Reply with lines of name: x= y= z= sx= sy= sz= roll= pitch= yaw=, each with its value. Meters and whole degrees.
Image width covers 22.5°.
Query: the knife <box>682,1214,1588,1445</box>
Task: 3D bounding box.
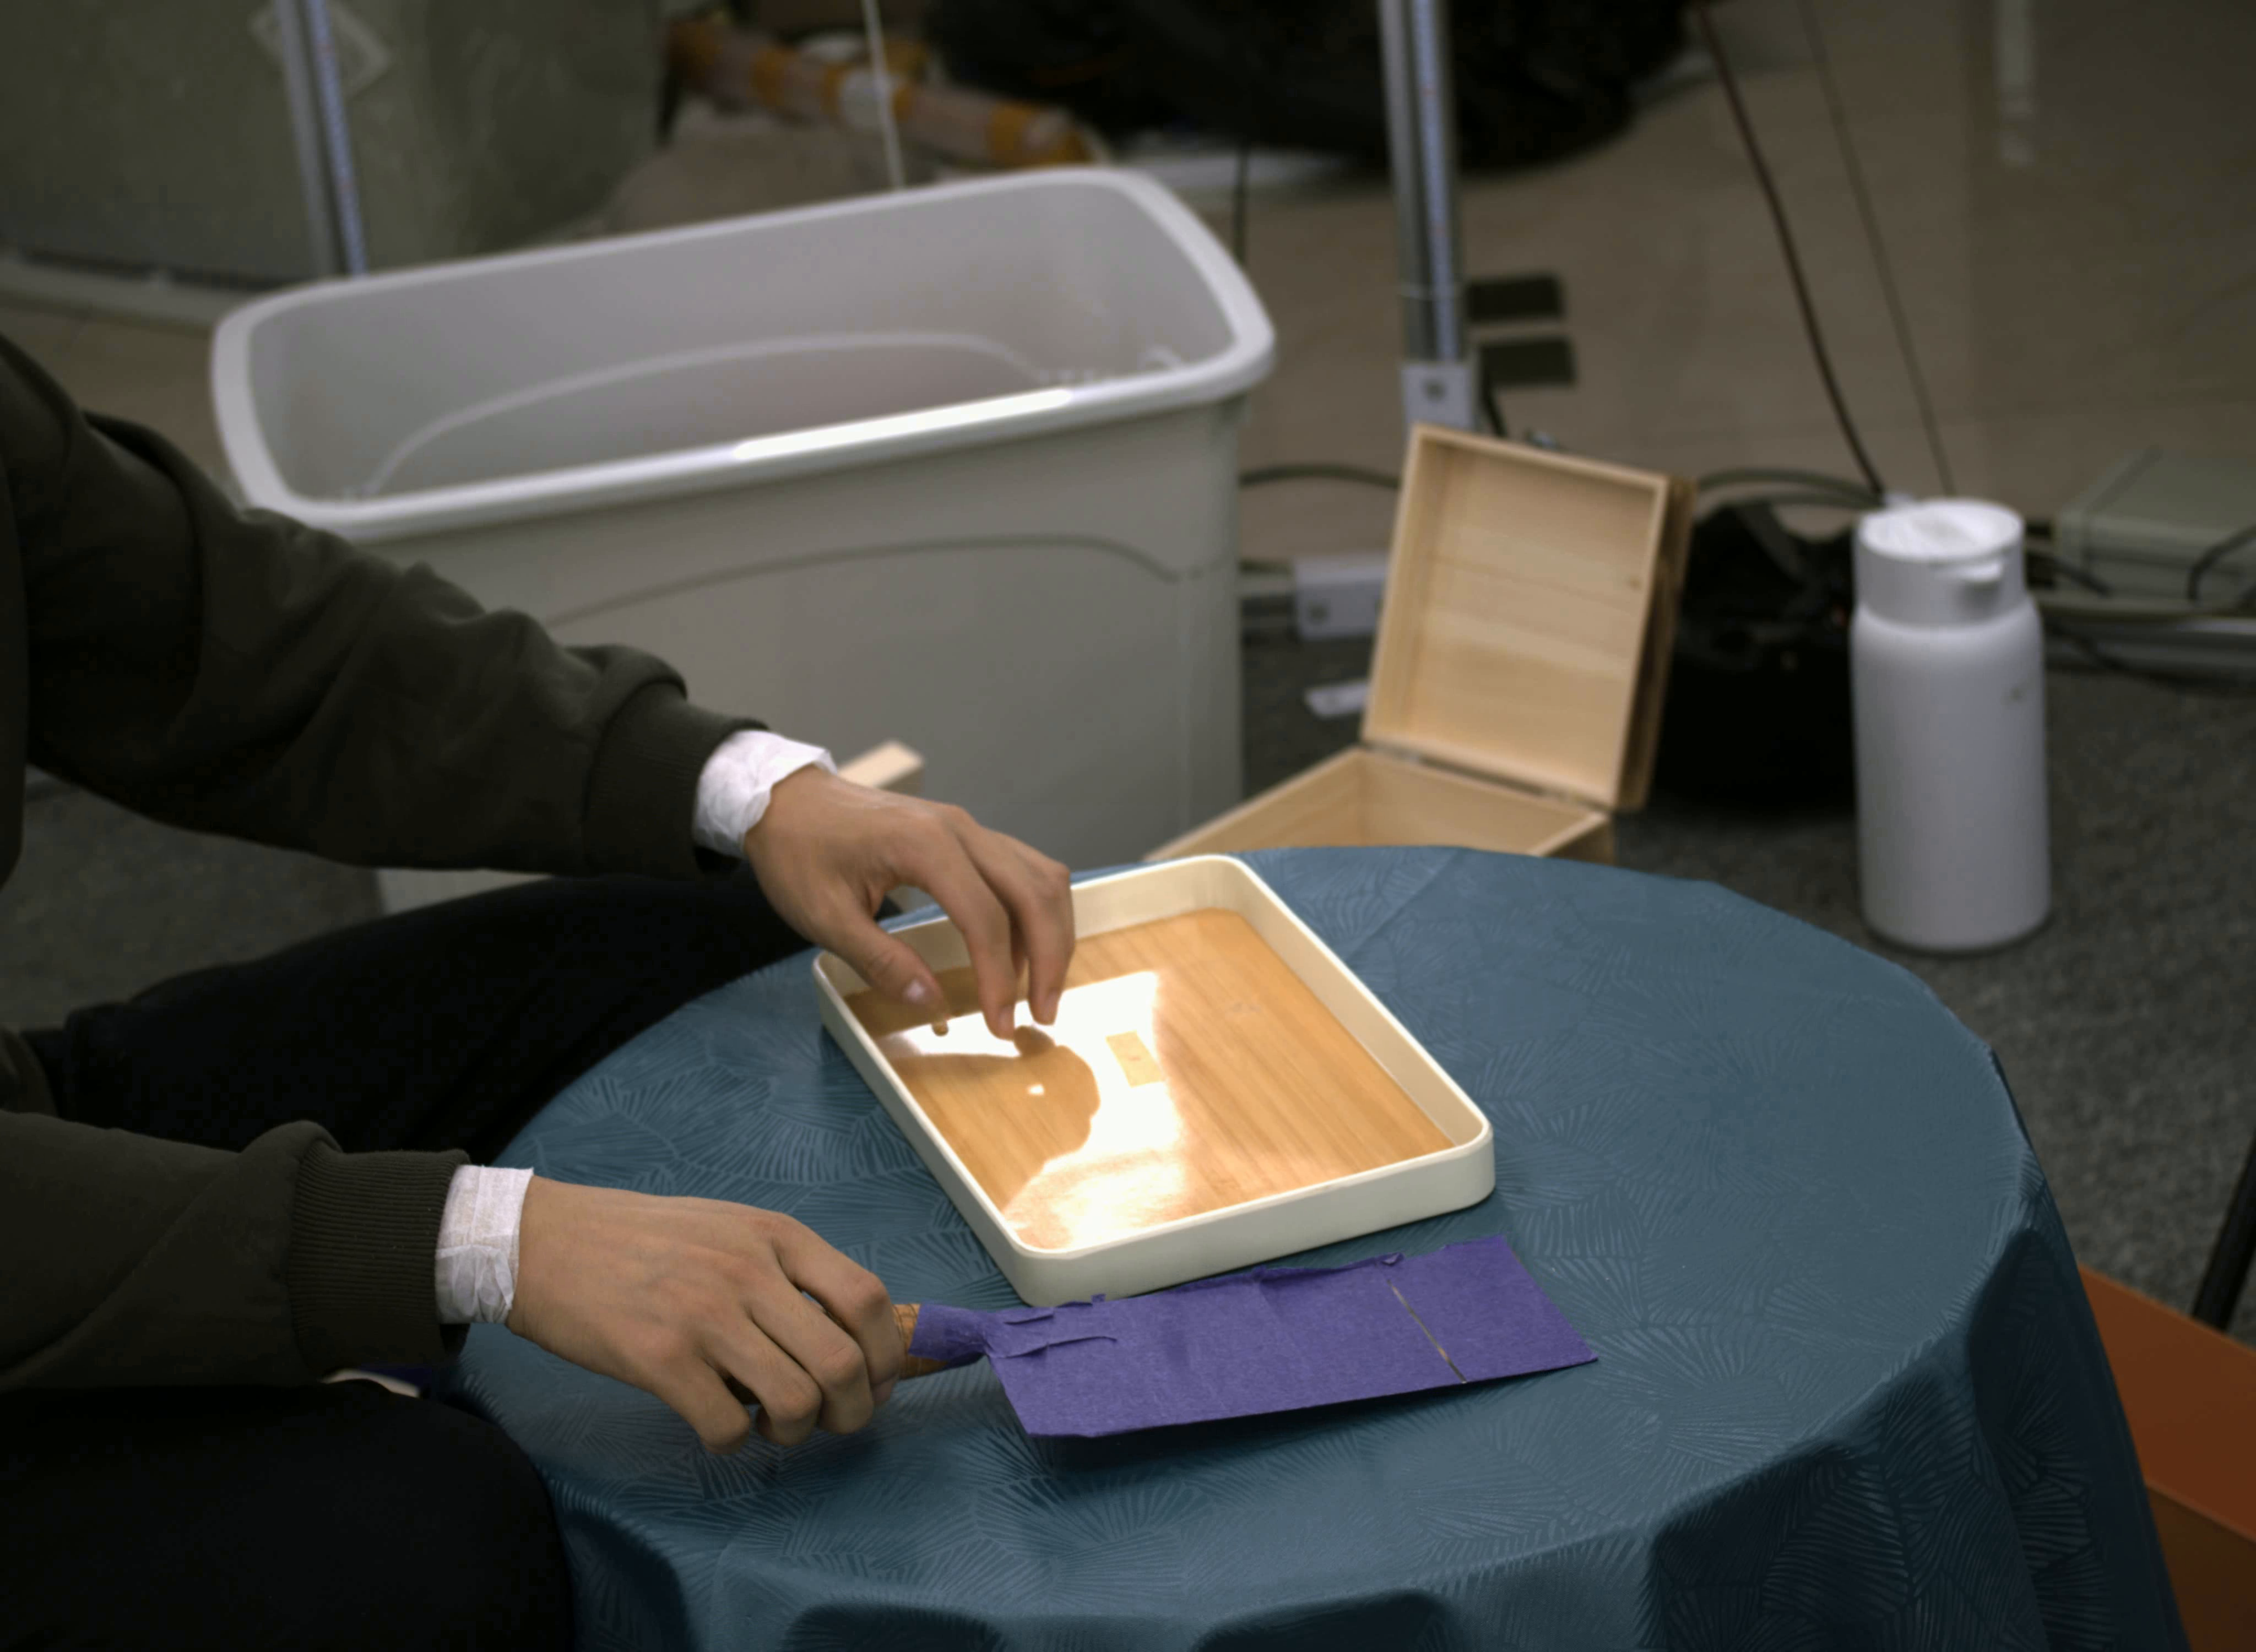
knife: x=0.004 y=0.184 z=2.002 sx=0.314 sy=0.033 sz=0.102 roll=-10 pitch=25 yaw=-14

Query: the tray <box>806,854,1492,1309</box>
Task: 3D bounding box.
tray: x=0.003 y=0.094 z=2.212 sx=0.191 sy=0.028 sz=0.296 roll=-13 pitch=26 yaw=-15
